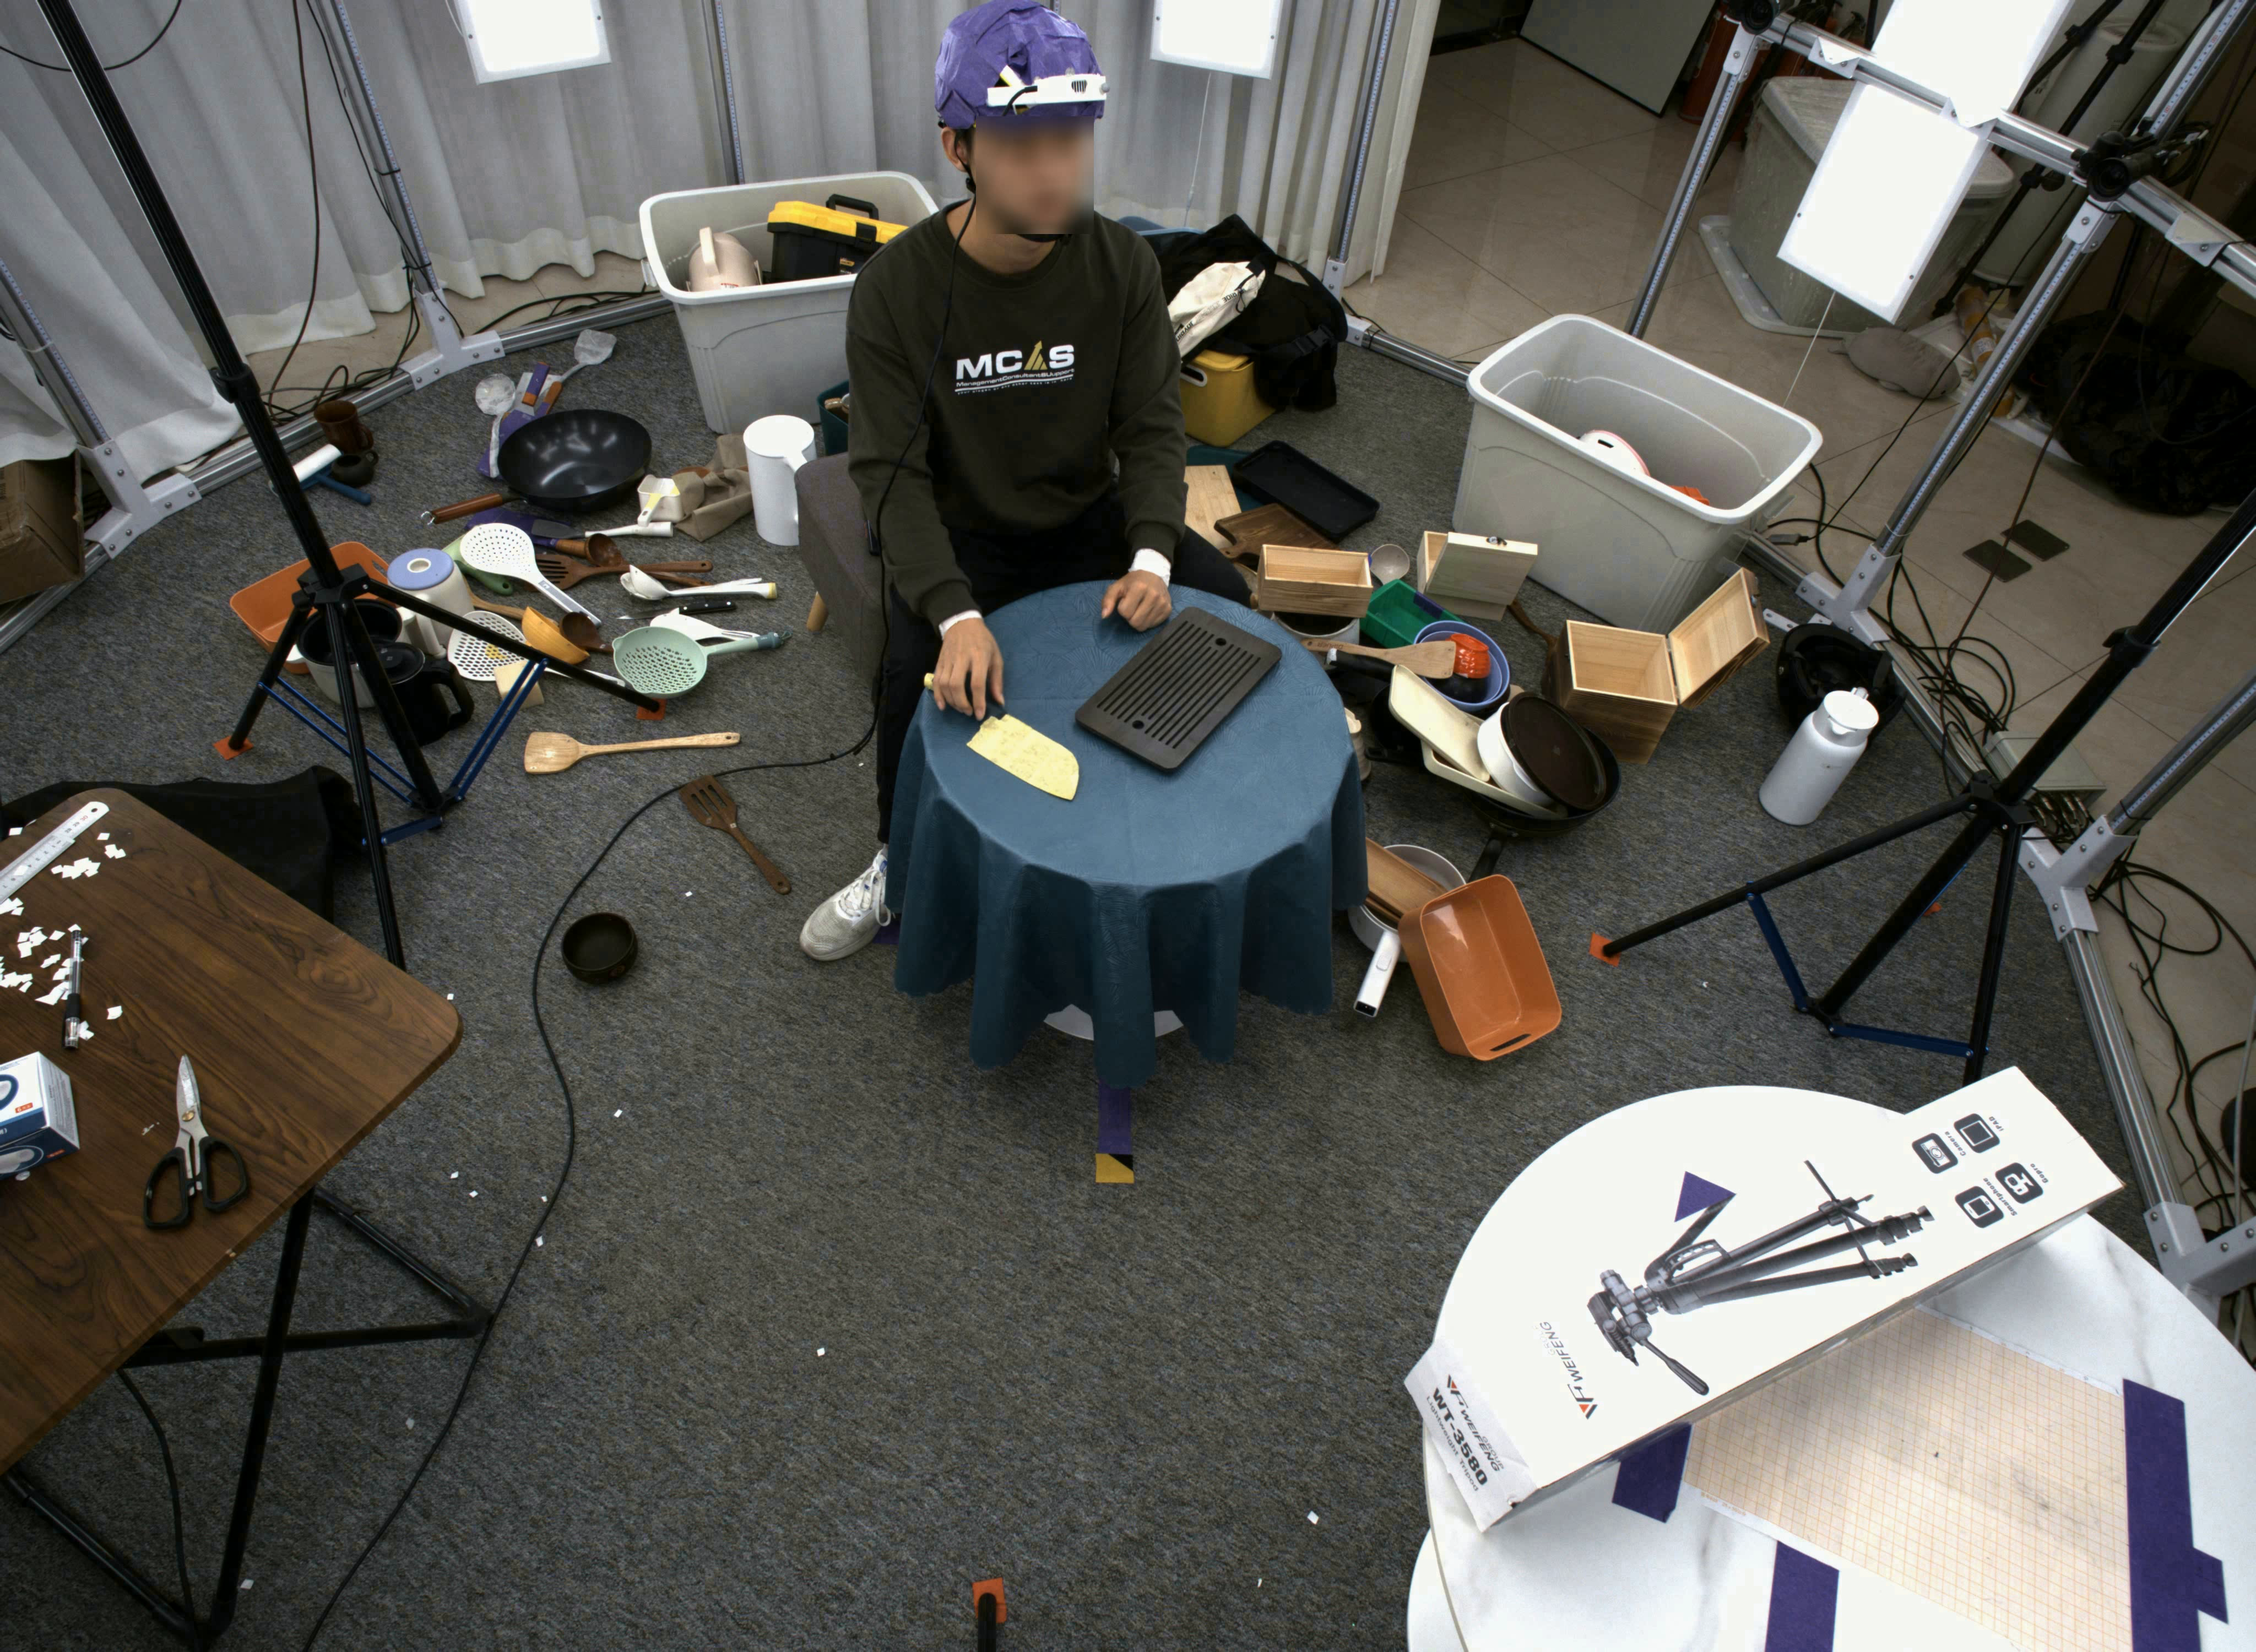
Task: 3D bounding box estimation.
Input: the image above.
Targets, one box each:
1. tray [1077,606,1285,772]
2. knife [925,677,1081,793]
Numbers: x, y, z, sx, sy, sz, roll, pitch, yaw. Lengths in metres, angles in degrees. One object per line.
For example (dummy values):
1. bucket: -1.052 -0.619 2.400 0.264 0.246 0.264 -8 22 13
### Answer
1. tray: 0.079 -0.199 1.833 0.172 0.018 0.310 29 53 21
2. knife: -0.178 -0.125 1.754 0.293 0.026 0.082 34 63 24
